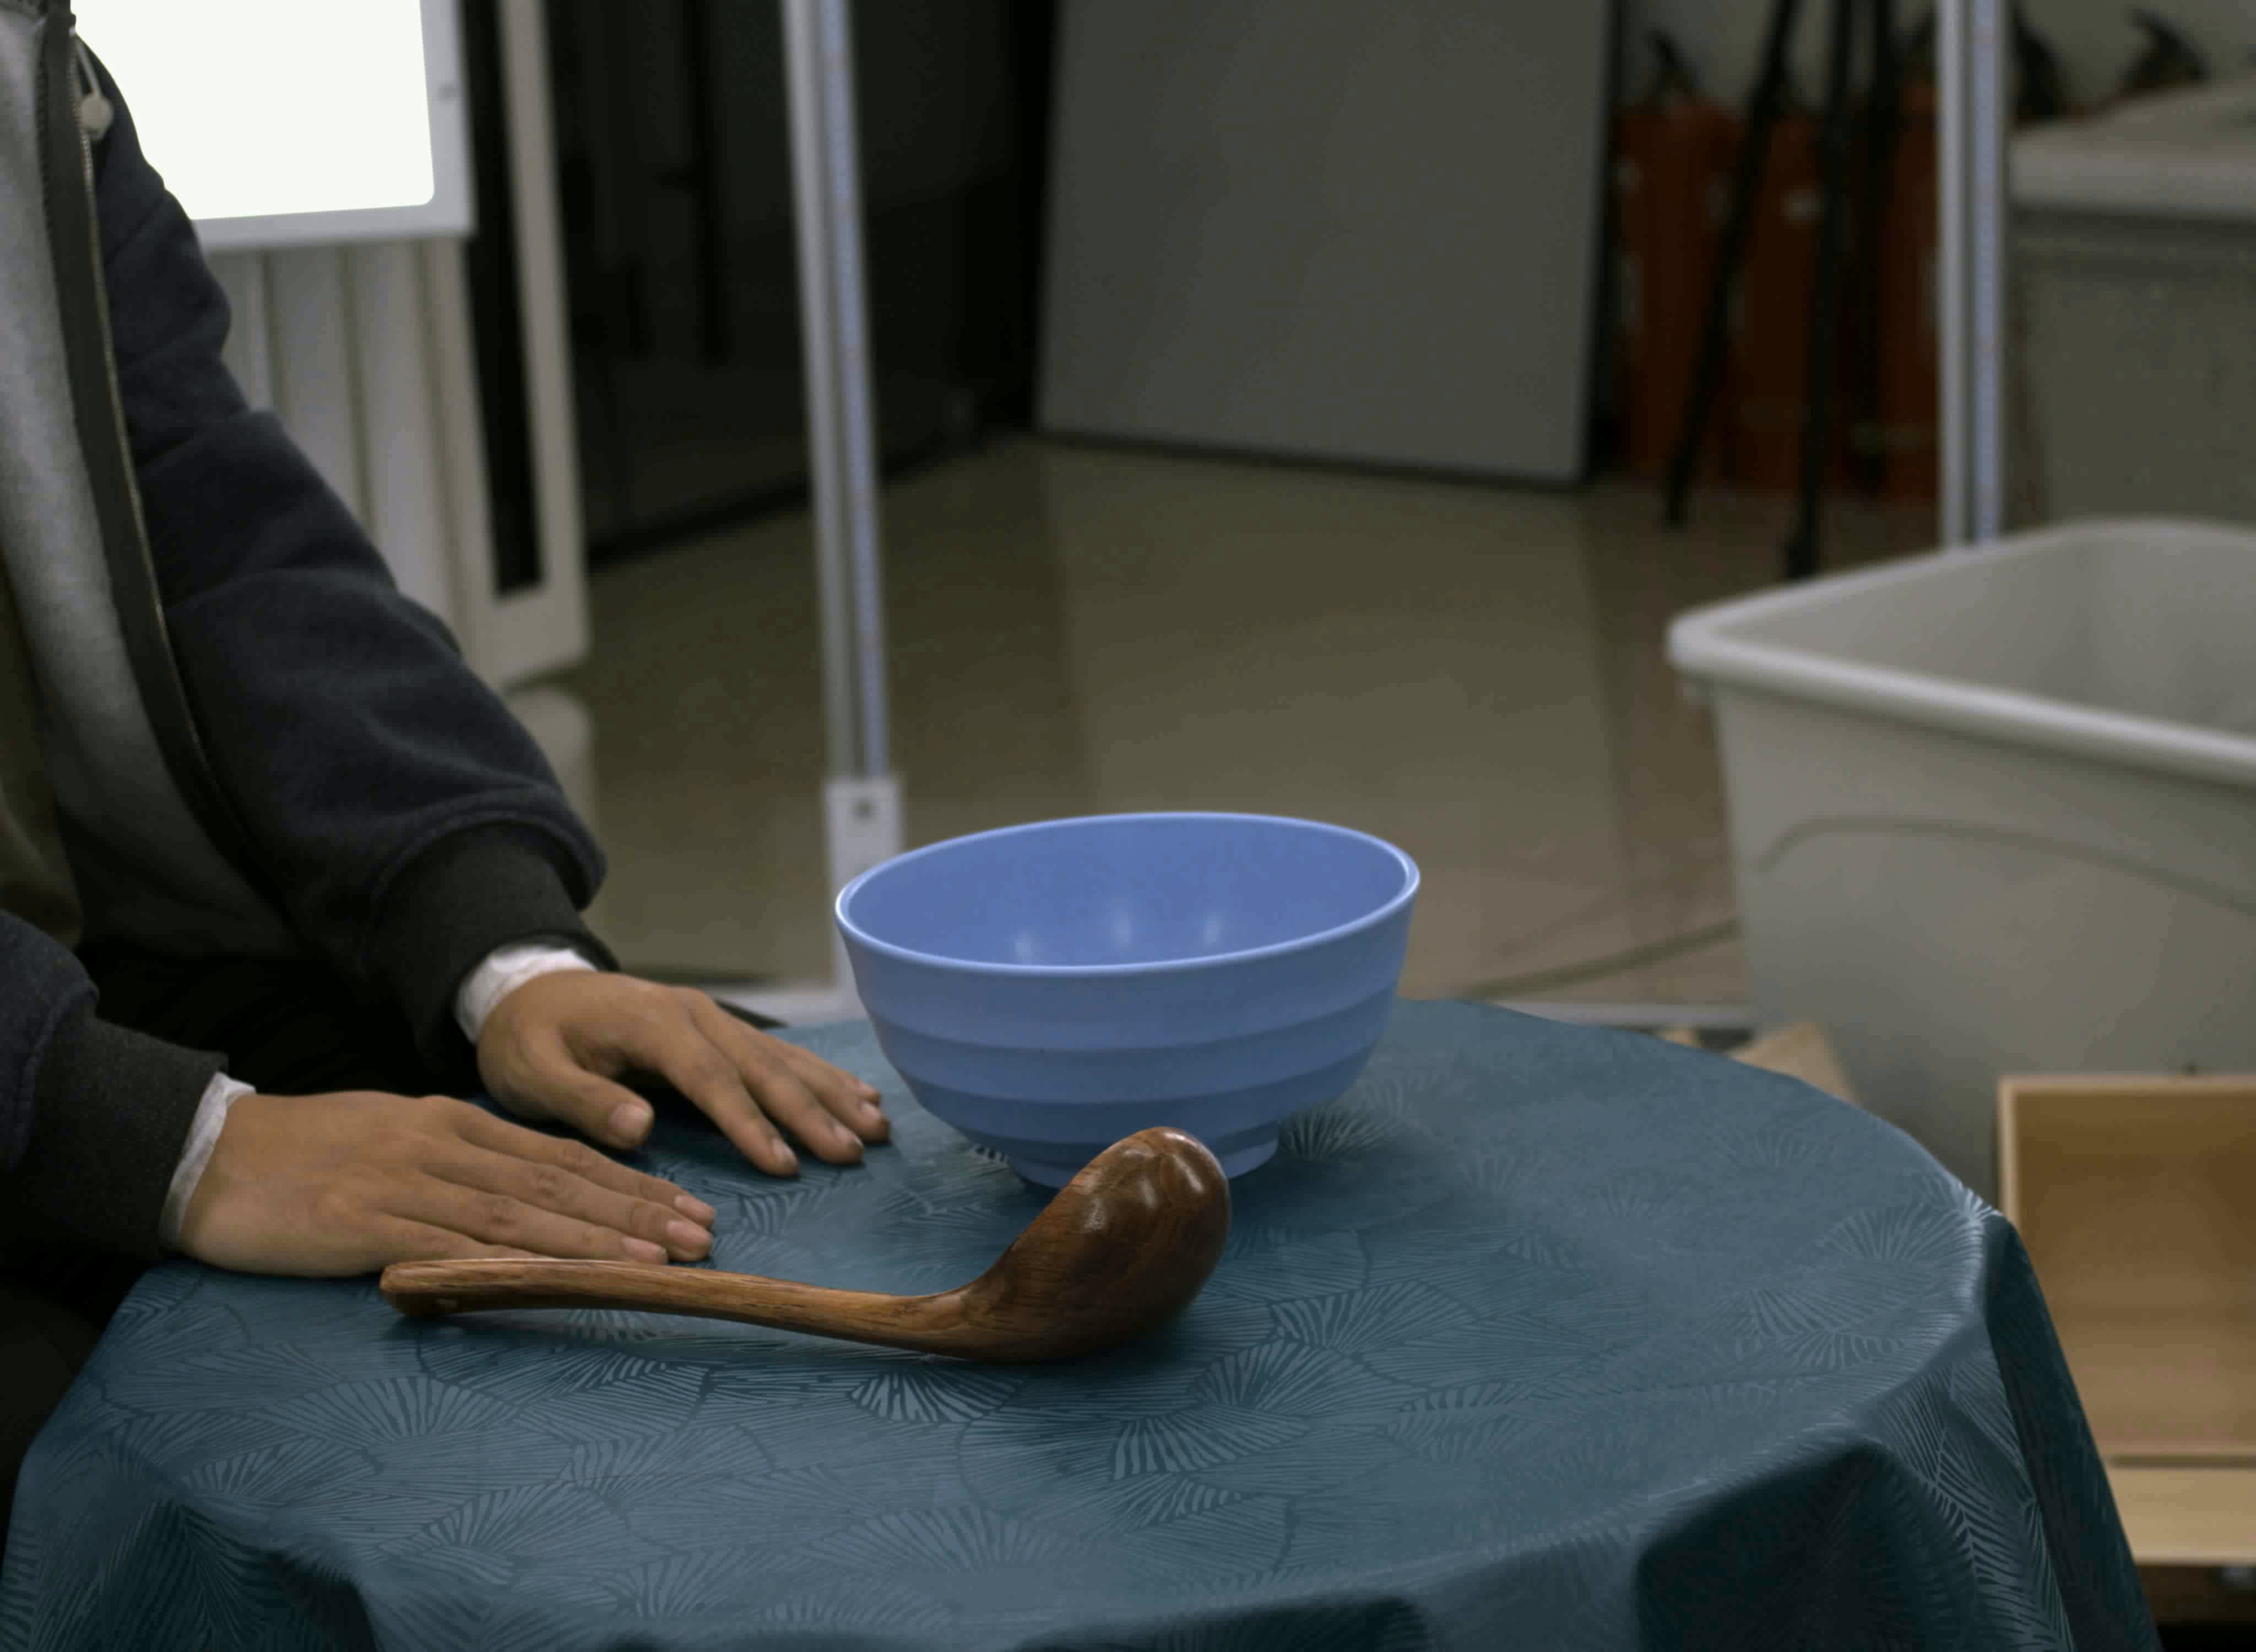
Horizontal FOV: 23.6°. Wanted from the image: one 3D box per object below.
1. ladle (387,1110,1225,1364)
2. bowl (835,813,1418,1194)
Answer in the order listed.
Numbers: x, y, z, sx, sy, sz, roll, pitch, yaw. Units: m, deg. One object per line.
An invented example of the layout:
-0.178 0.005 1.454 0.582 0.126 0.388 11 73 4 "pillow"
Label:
-0.101 0.121 1.649 0.274 0.077 0.081 1 -25 25 "ladle"
0.003 0.066 1.797 0.194 0.096 0.197 -5 14 0 "bowl"
